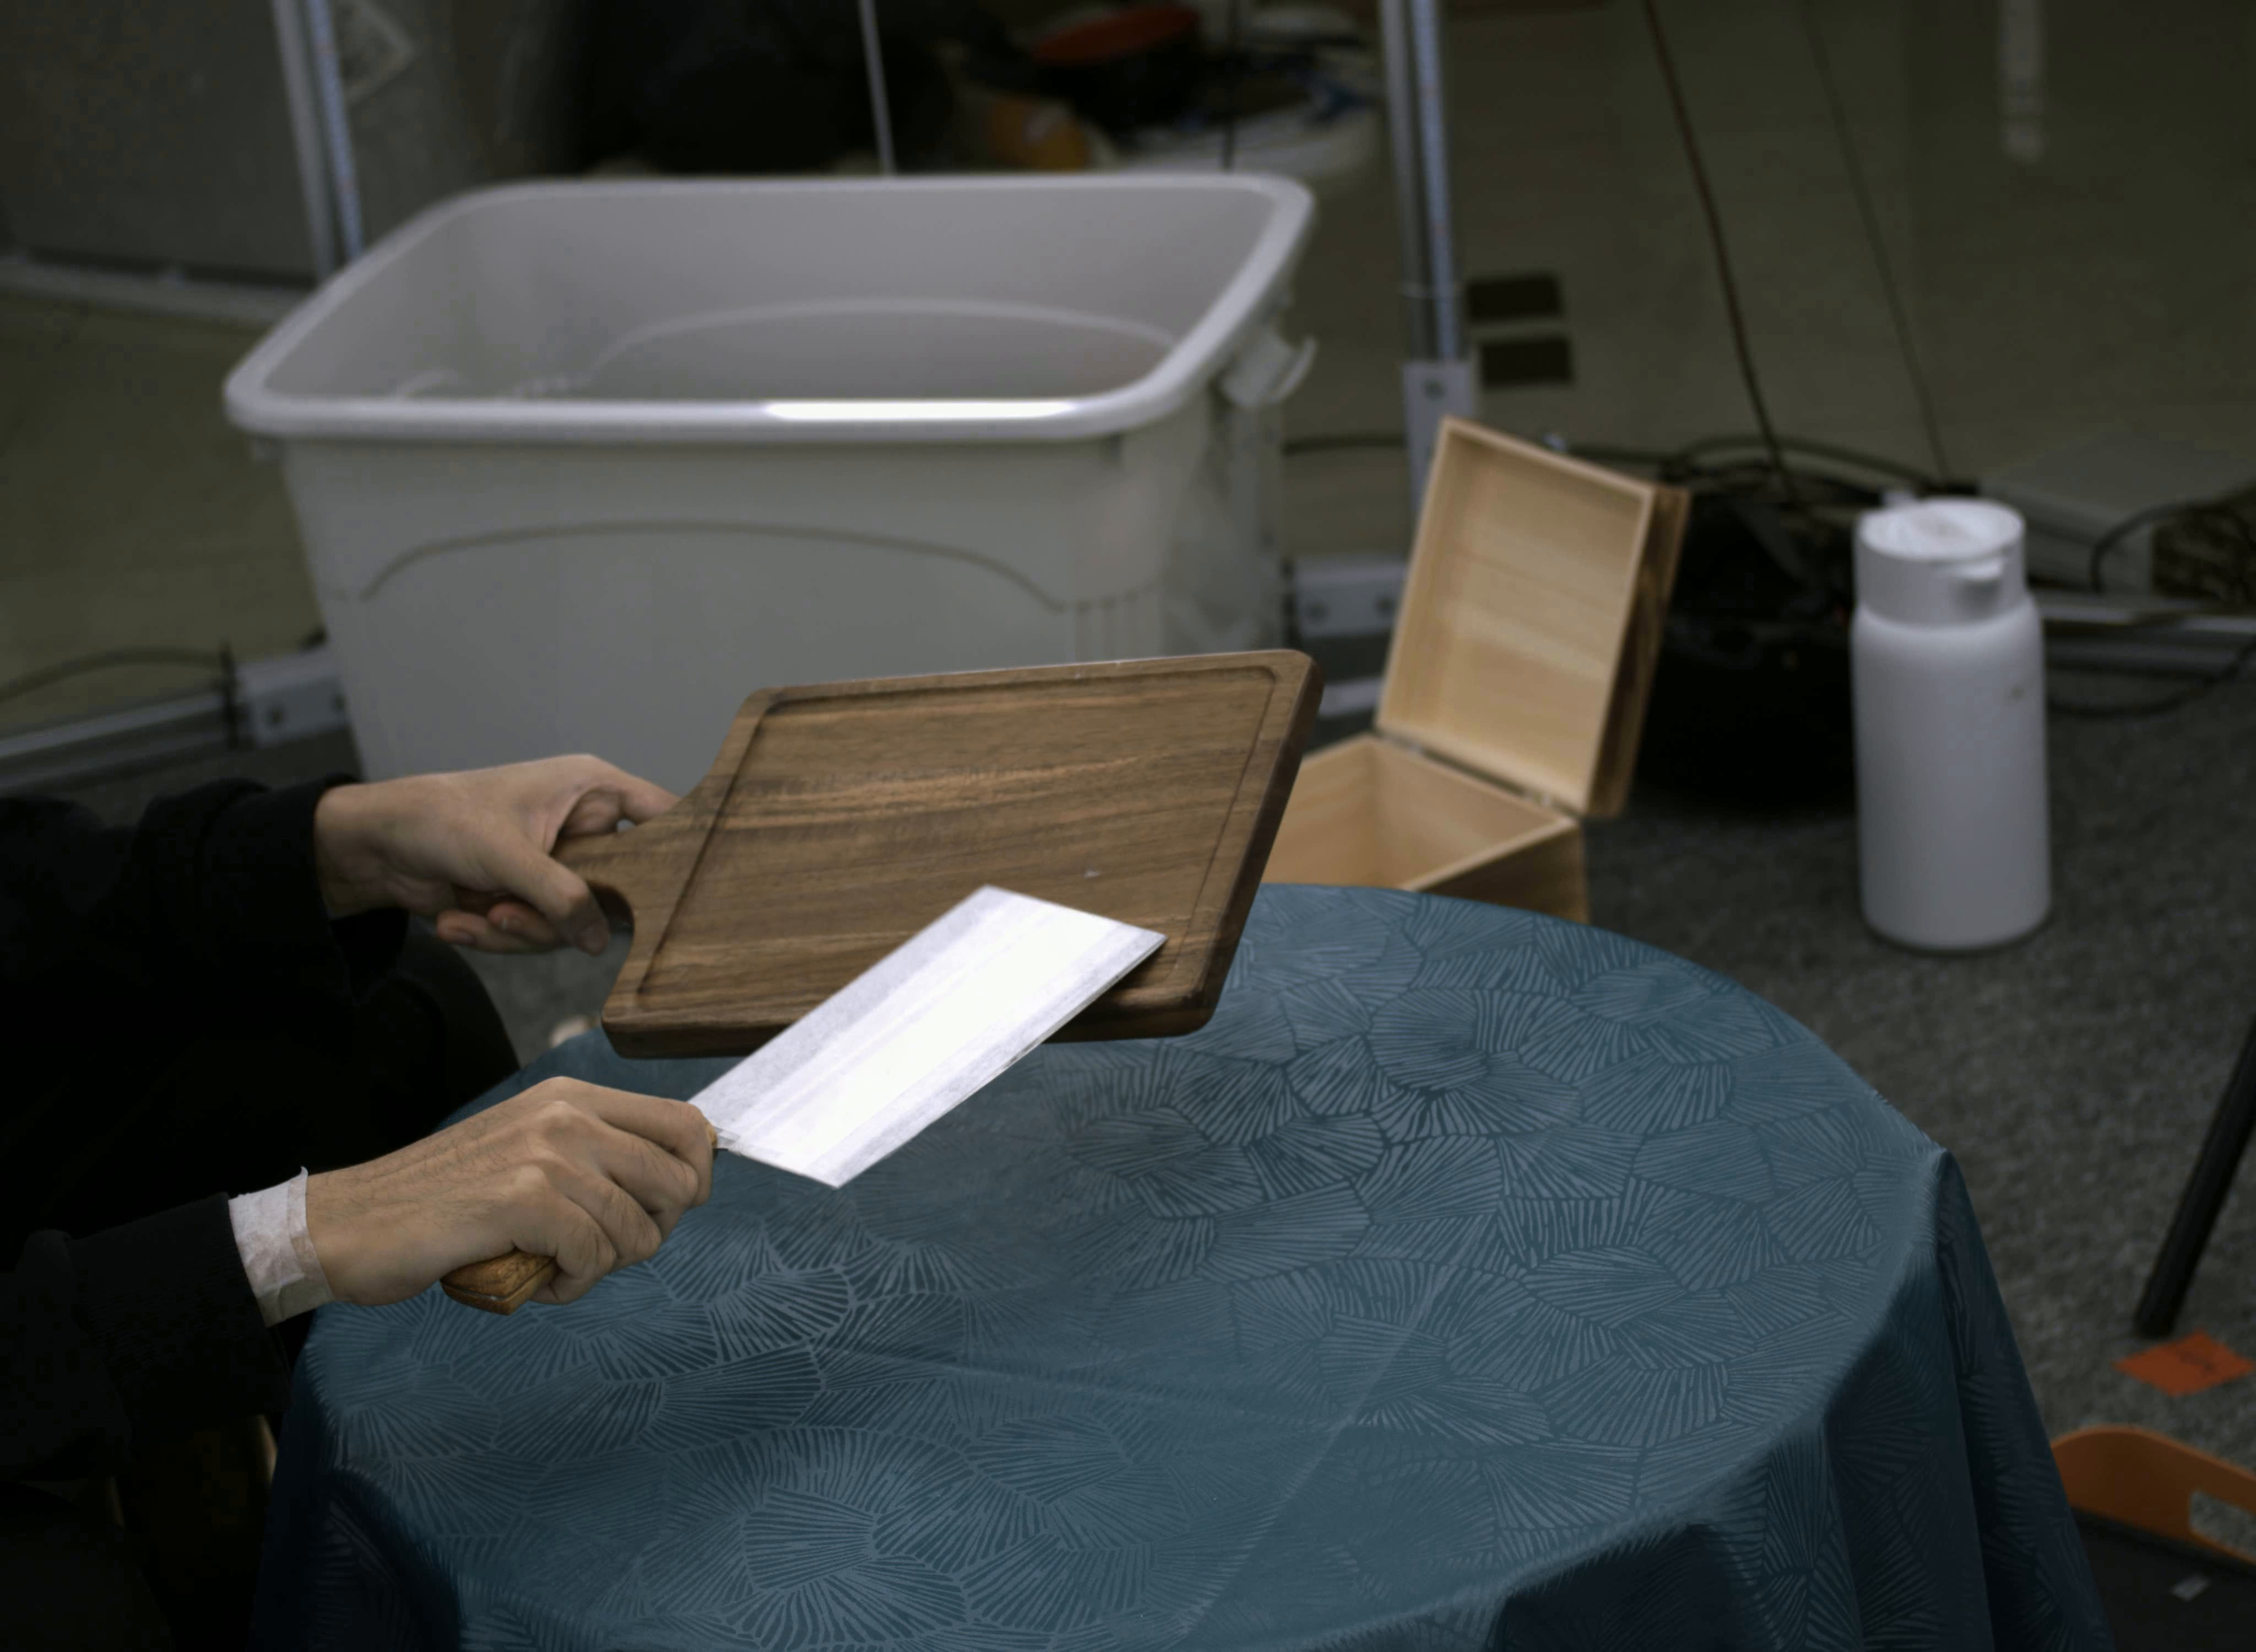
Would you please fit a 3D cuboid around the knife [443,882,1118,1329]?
[{"bbox_3d":[-0.114,0.099,2.020,0.092,0.021,0.302,17,39,35],"label":"knife"}]

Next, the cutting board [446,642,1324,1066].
[{"bbox_3d":[-0.107,0.013,2.192,0.352,0.023,0.197,-4,42,24],"label":"cutting board"}]
